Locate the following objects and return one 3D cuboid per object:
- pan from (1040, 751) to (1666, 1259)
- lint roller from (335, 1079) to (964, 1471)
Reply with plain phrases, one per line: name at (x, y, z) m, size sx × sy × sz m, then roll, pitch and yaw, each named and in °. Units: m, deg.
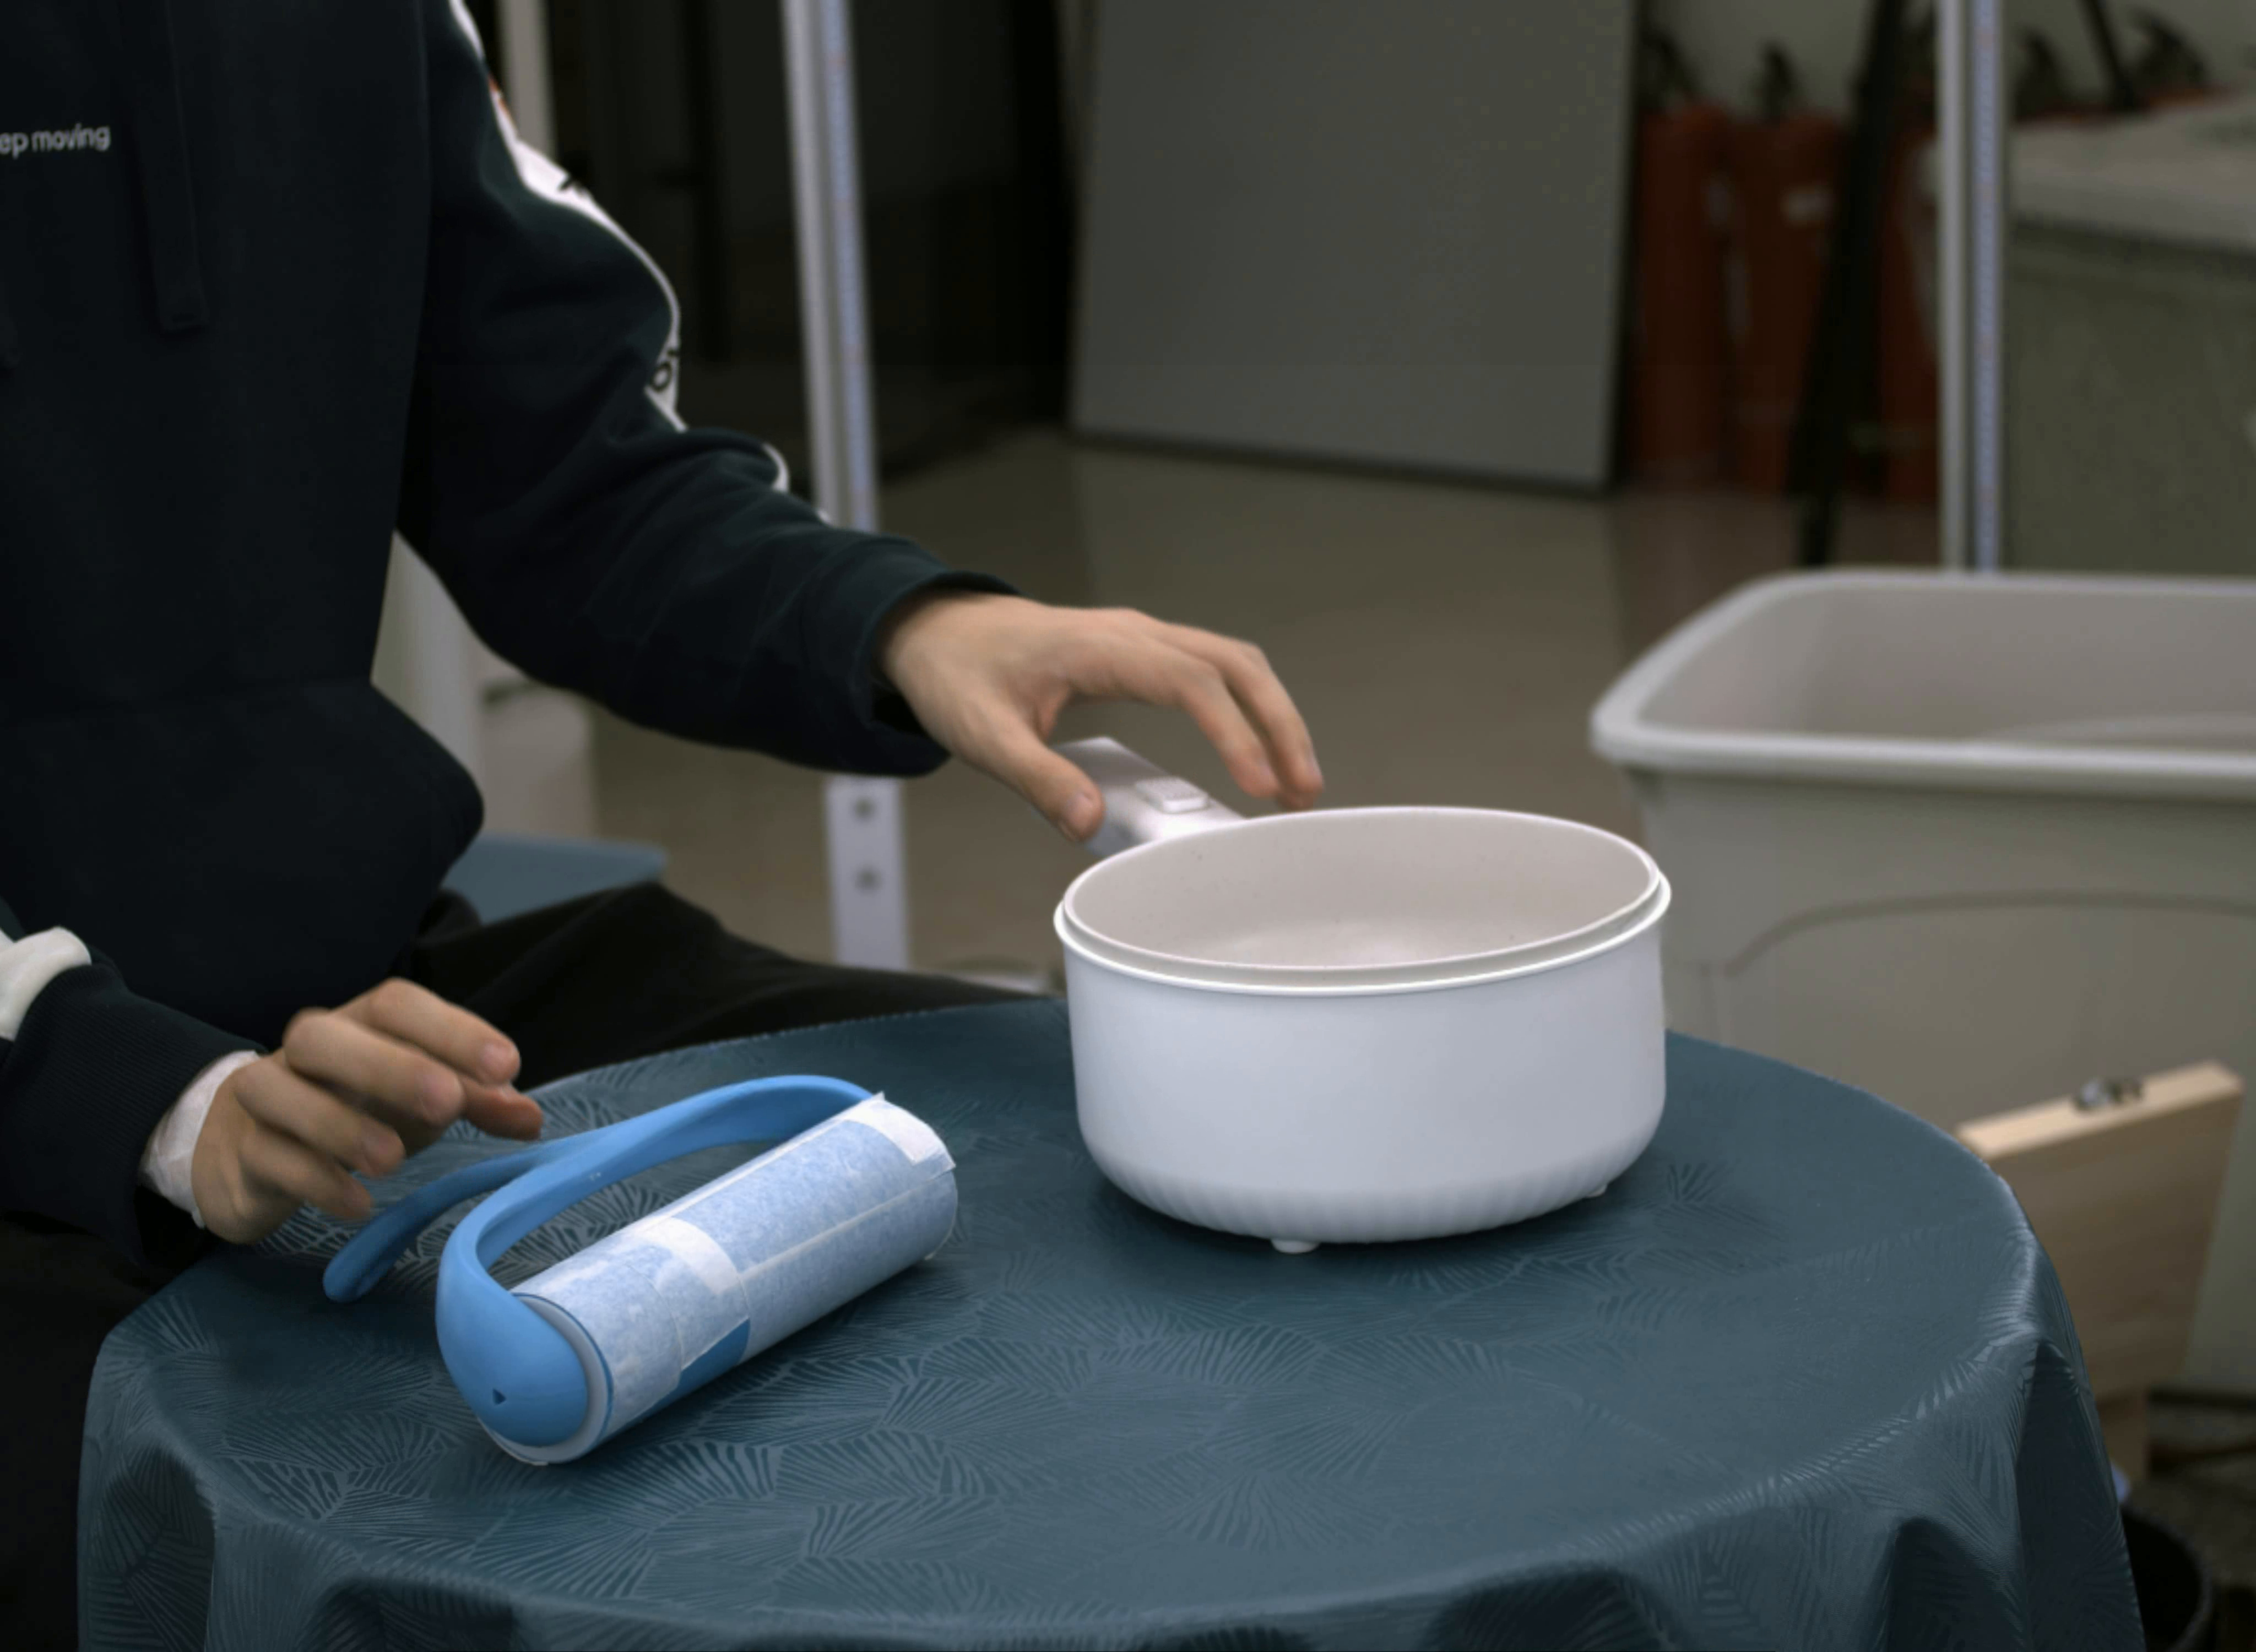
pan at (0.050, 0.054, 1.826) m, size 0.197 × 0.103 × 0.358 m, roll -10°, pitch 14°, yaw -20°
lint roller at (-0.172, 0.131, 1.660) m, size 0.181 × 0.068 × 0.226 m, roll 4°, pitch 18°, yaw 28°
